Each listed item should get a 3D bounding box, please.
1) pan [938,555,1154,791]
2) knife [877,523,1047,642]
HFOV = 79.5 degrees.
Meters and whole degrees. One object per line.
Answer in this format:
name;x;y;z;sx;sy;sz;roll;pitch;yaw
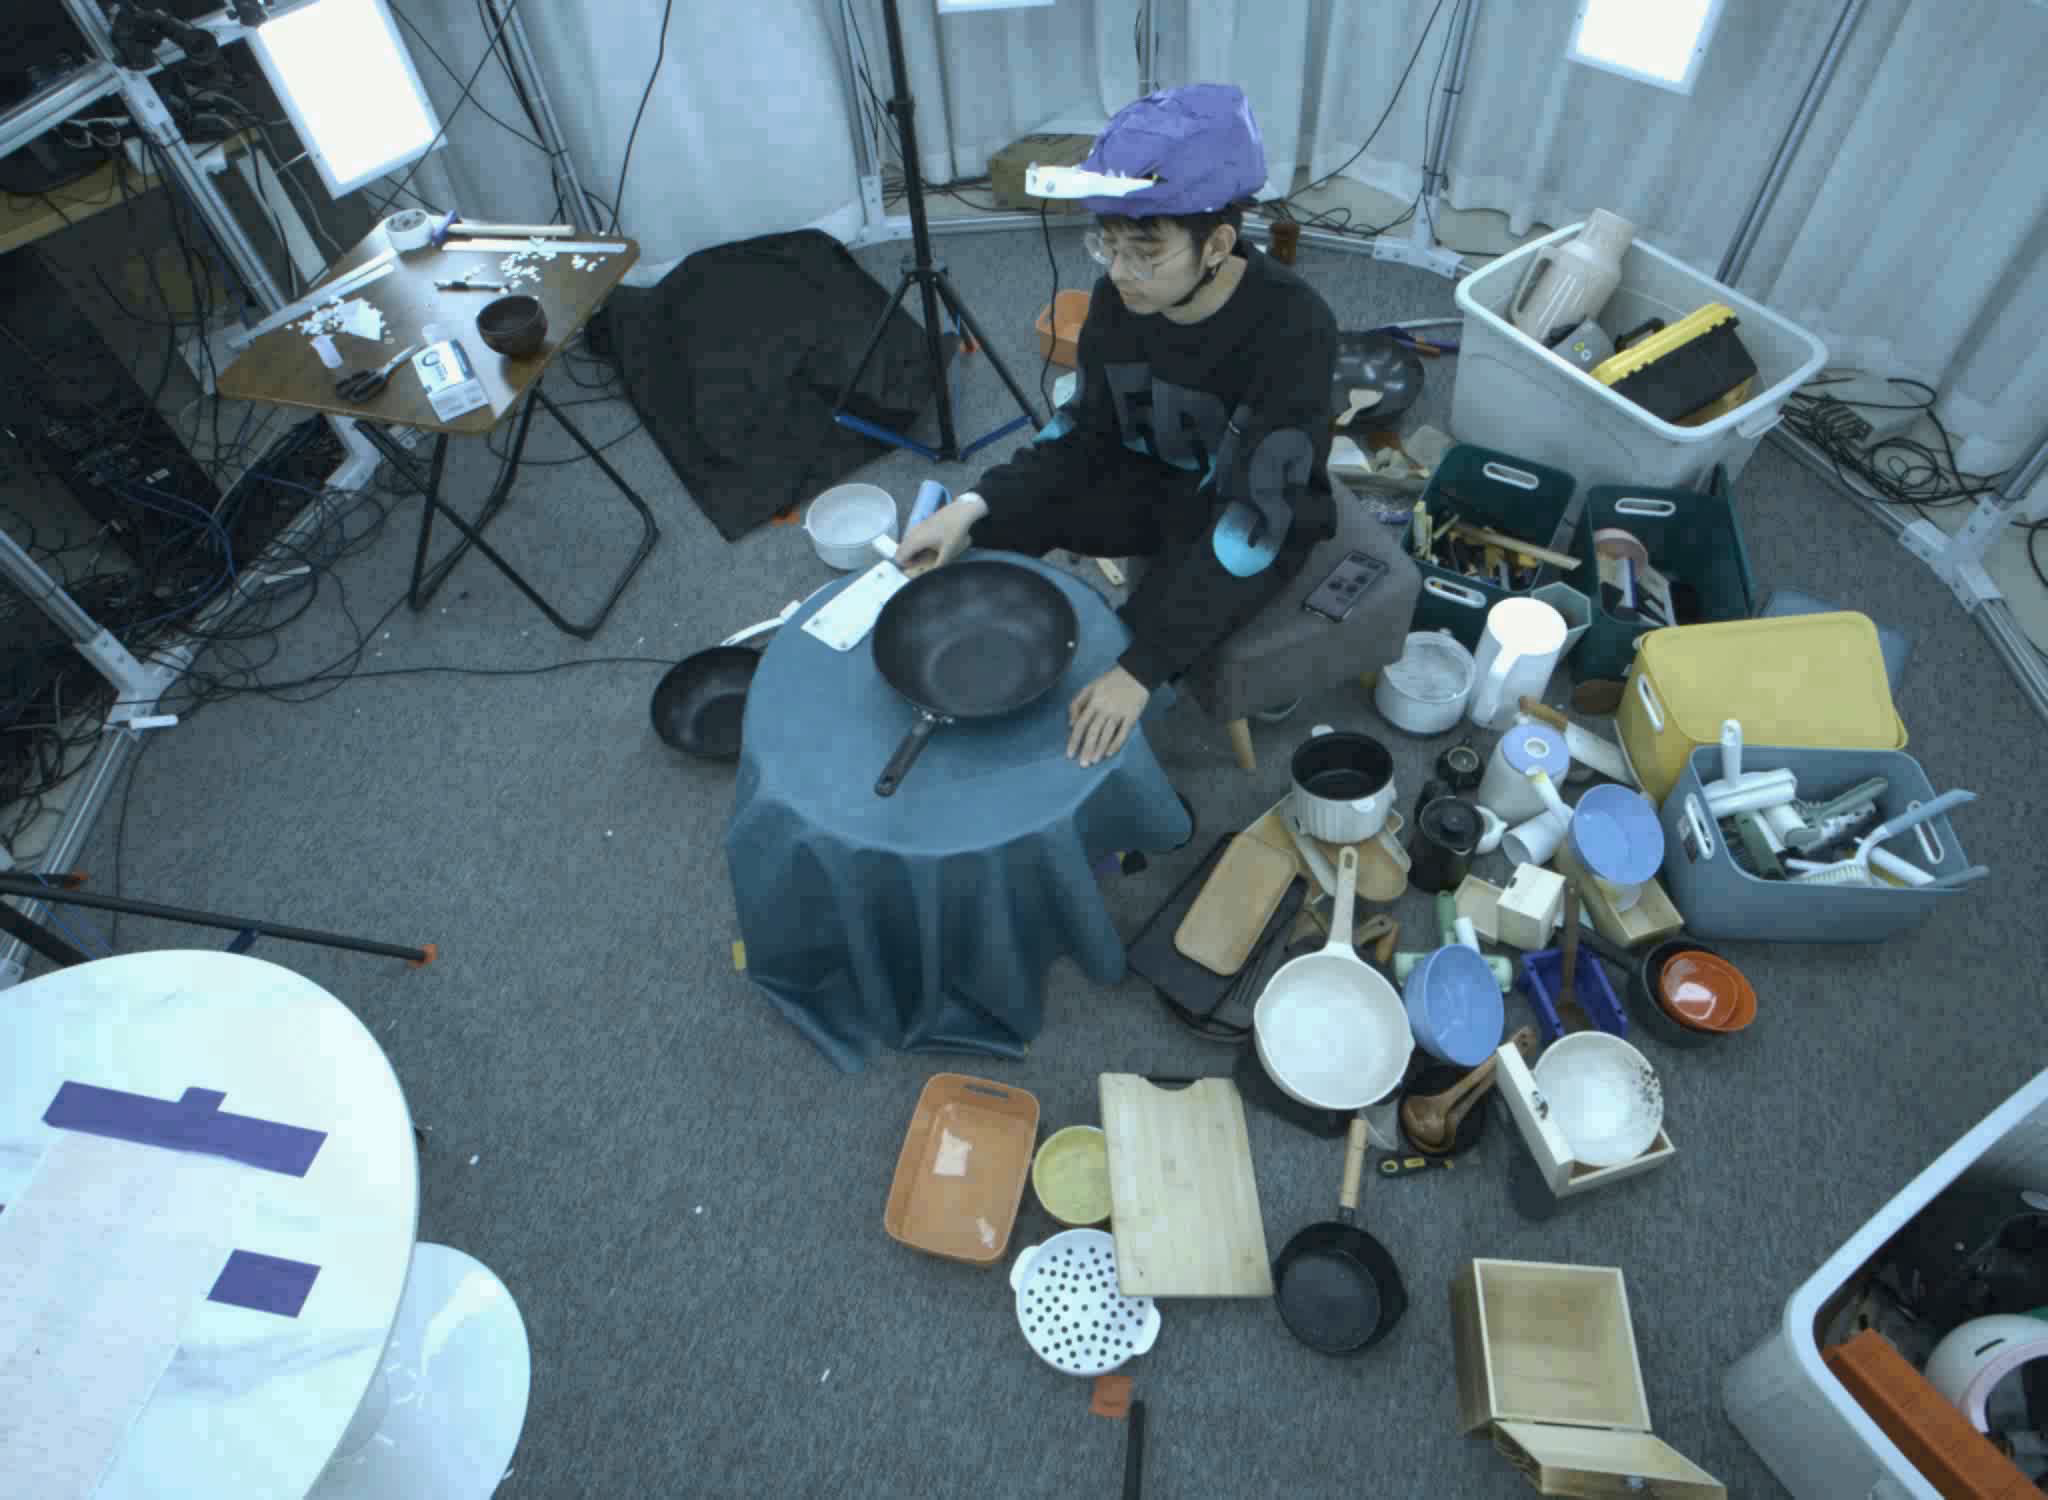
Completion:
pan;0.003;-0.098;1.791;0.306;0.113;0.477;19;57;17
knife;-0.090;-0.276;1.974;0.317;0.022;0.112;-36;61;-18
